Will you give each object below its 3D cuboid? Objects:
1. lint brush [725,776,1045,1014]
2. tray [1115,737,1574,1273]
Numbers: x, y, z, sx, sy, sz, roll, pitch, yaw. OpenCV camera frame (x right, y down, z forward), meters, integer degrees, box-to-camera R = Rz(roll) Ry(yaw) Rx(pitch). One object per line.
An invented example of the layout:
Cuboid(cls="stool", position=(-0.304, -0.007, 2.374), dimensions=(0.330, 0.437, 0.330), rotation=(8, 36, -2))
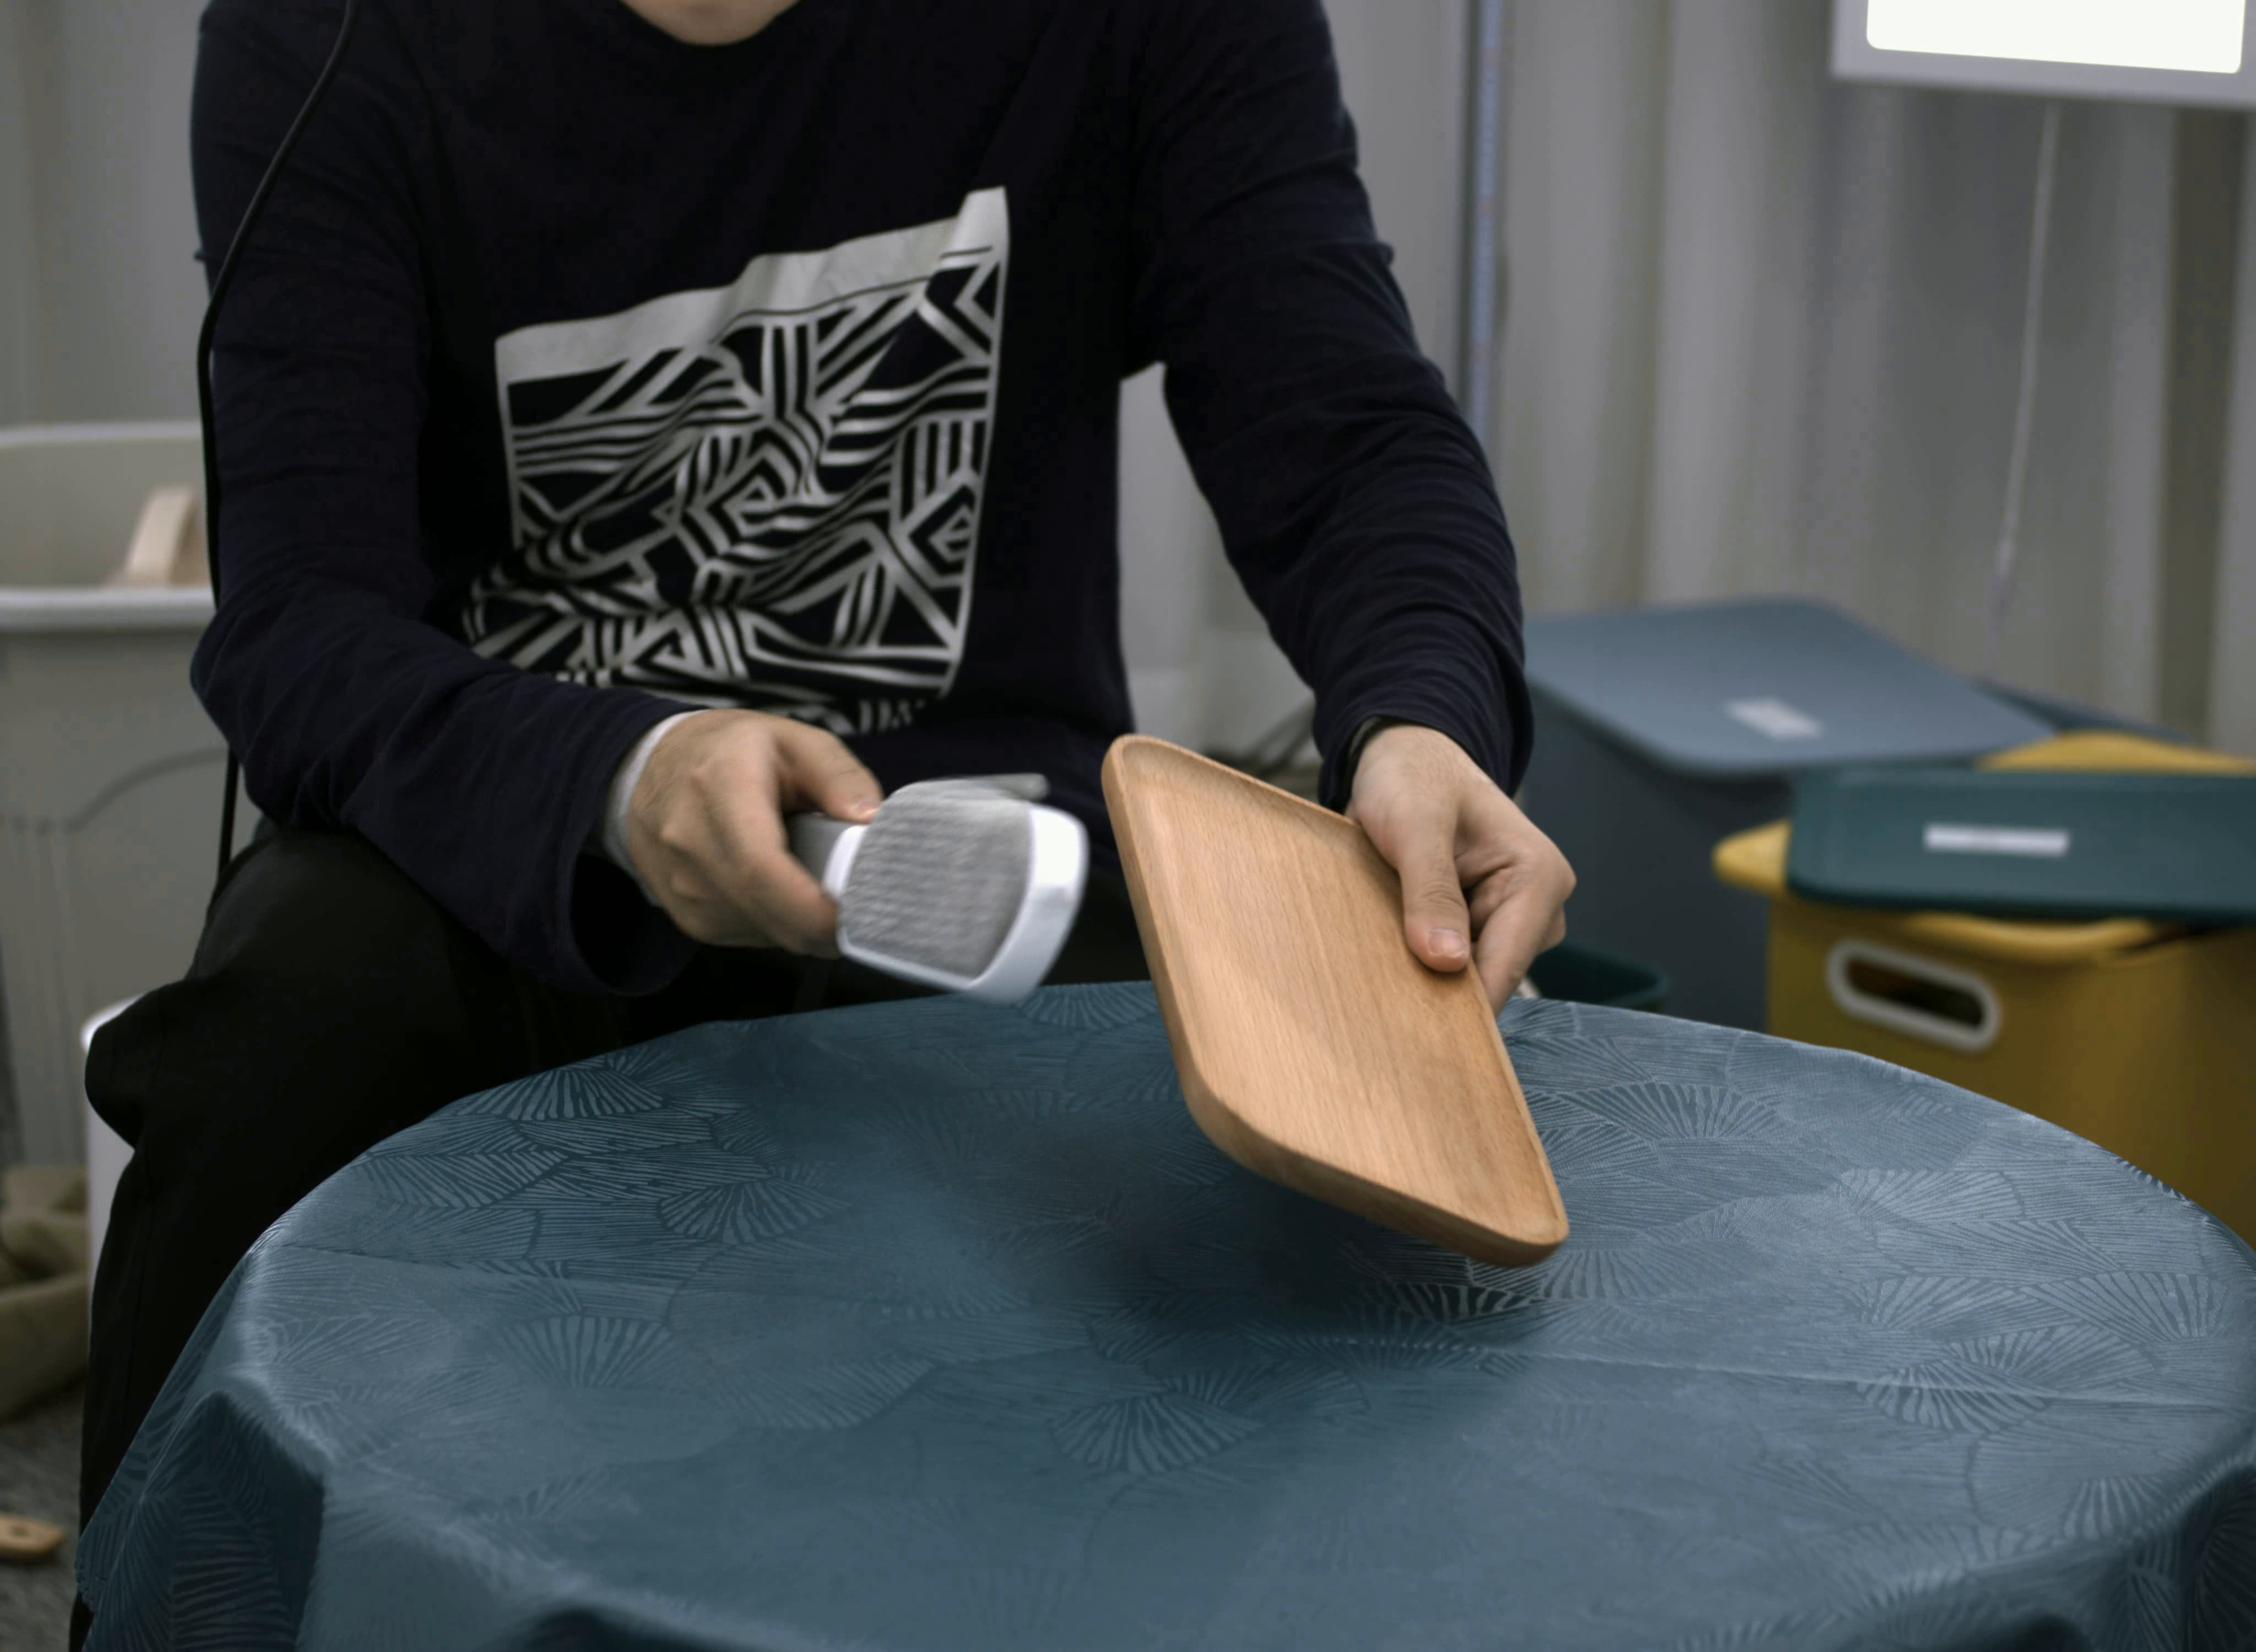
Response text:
Cuboid(cls="lint brush", position=(-0.078, 0.015, 1.596), dimensions=(0.021, 0.060, 0.306), rotation=(14, -1, -18))
Cuboid(cls="tray", position=(0.062, 0.052, 1.607), dimensions=(0.131, 0.023, 0.248), rotation=(25, 22, -18))
